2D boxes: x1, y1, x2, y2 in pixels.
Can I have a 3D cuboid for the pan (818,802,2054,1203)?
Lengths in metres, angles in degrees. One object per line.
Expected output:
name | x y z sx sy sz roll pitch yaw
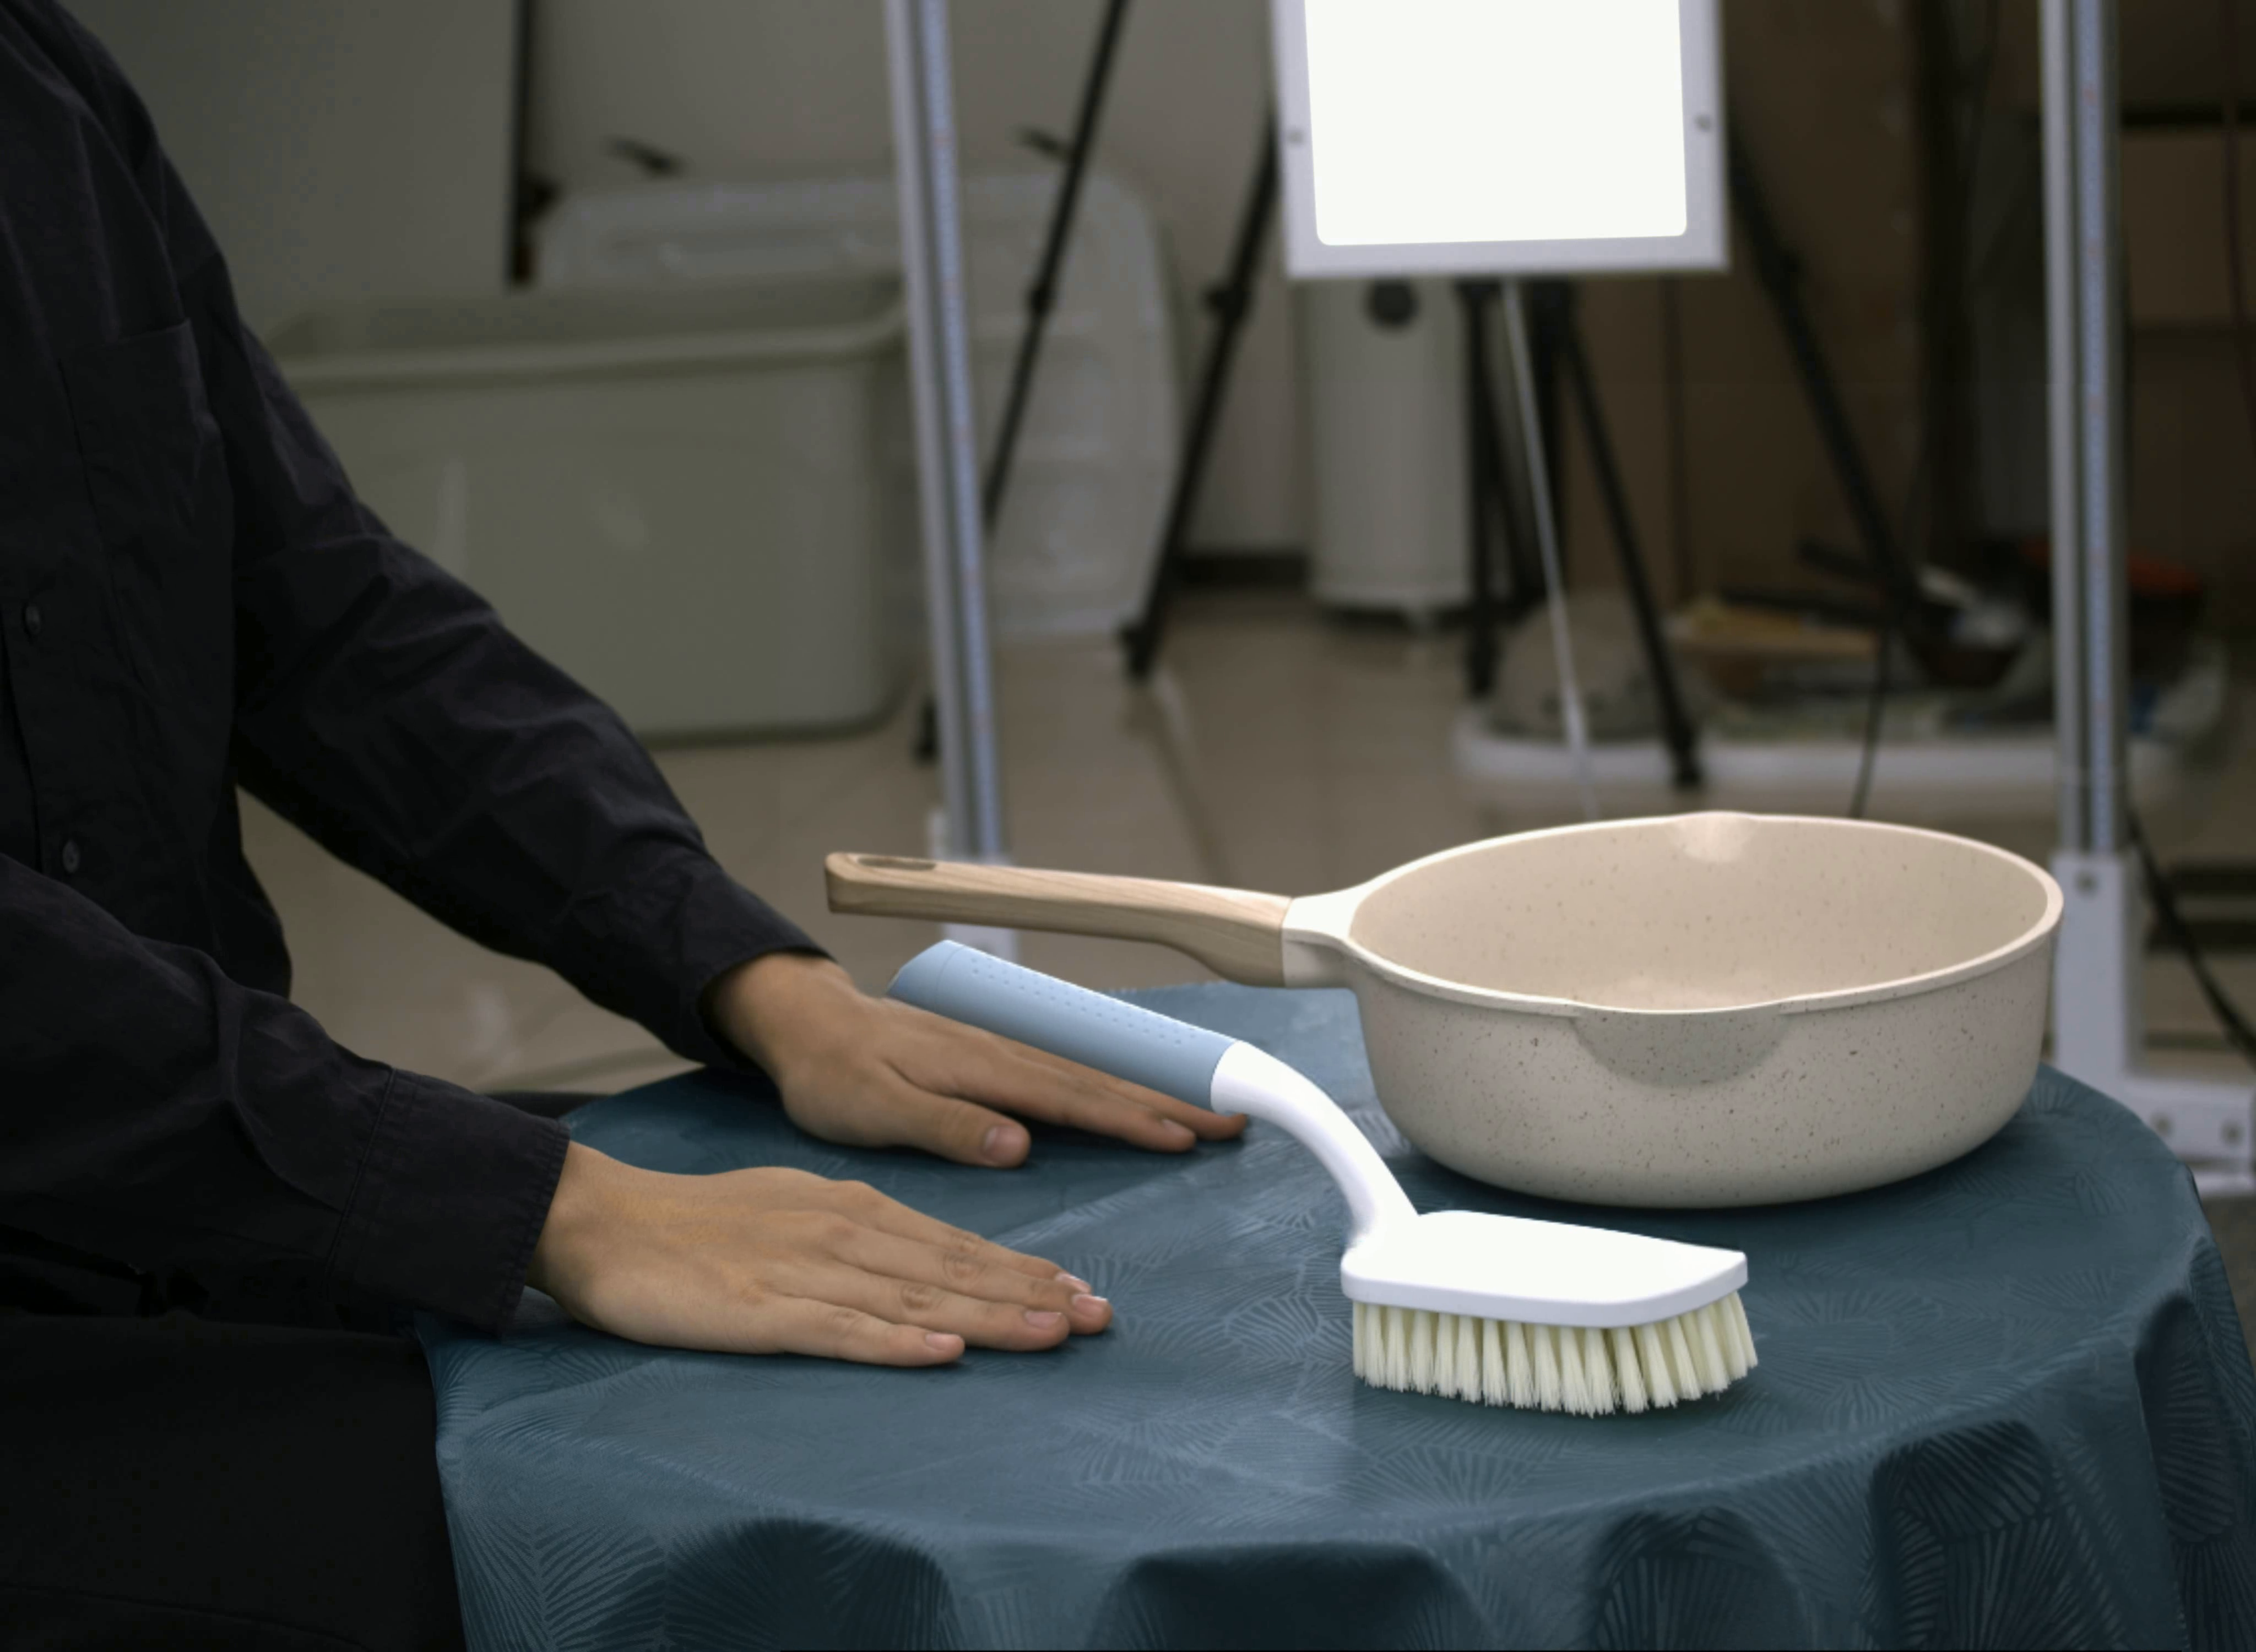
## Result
pan | 0.109 0.058 1.926 0.437 0.102 0.261 -2 15 11

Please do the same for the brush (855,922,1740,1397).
brush | 0.047 0.118 1.735 0.331 0.084 0.082 18 -14 31
